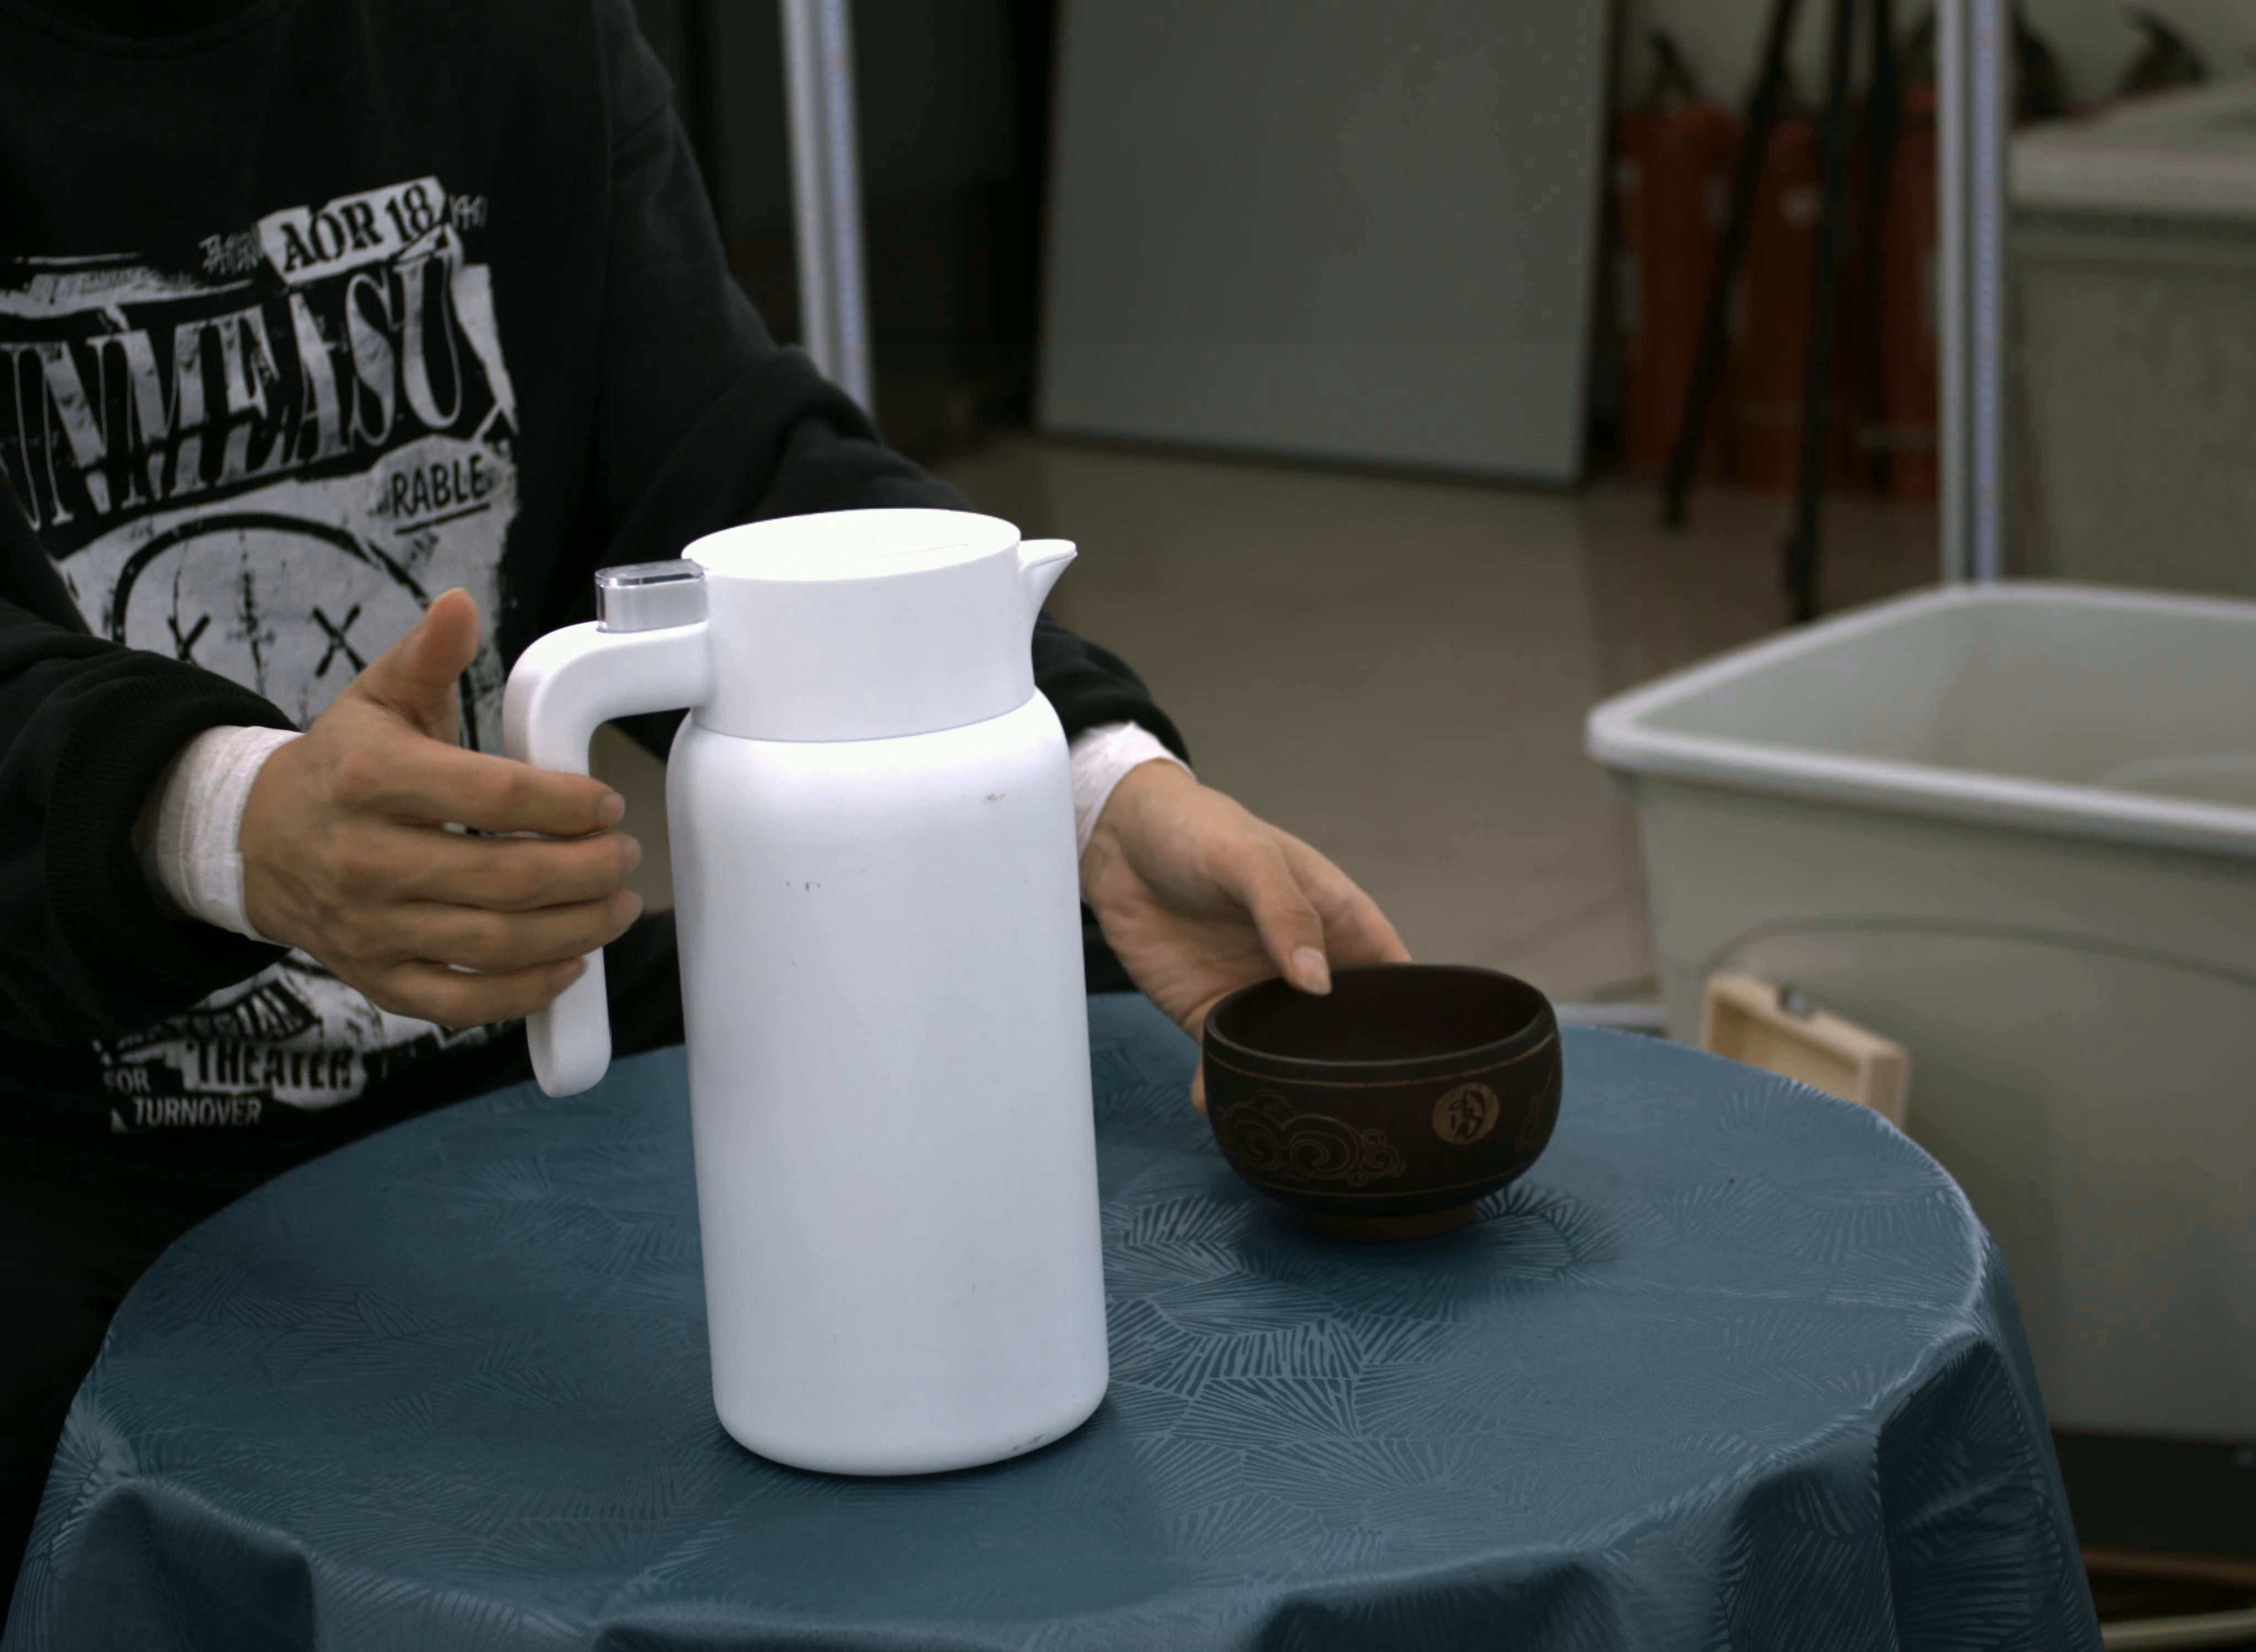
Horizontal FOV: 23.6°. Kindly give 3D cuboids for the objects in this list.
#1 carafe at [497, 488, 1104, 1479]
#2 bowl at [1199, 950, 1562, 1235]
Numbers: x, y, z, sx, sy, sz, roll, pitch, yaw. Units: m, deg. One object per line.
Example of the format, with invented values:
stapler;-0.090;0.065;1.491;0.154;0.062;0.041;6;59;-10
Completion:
carafe;-0.087;0.046;1.543;0.169;0.272;0.125;-9;16;-20
bowl;0.082;0.089;1.724;0.116;0.070;0.118;-5;14;0
